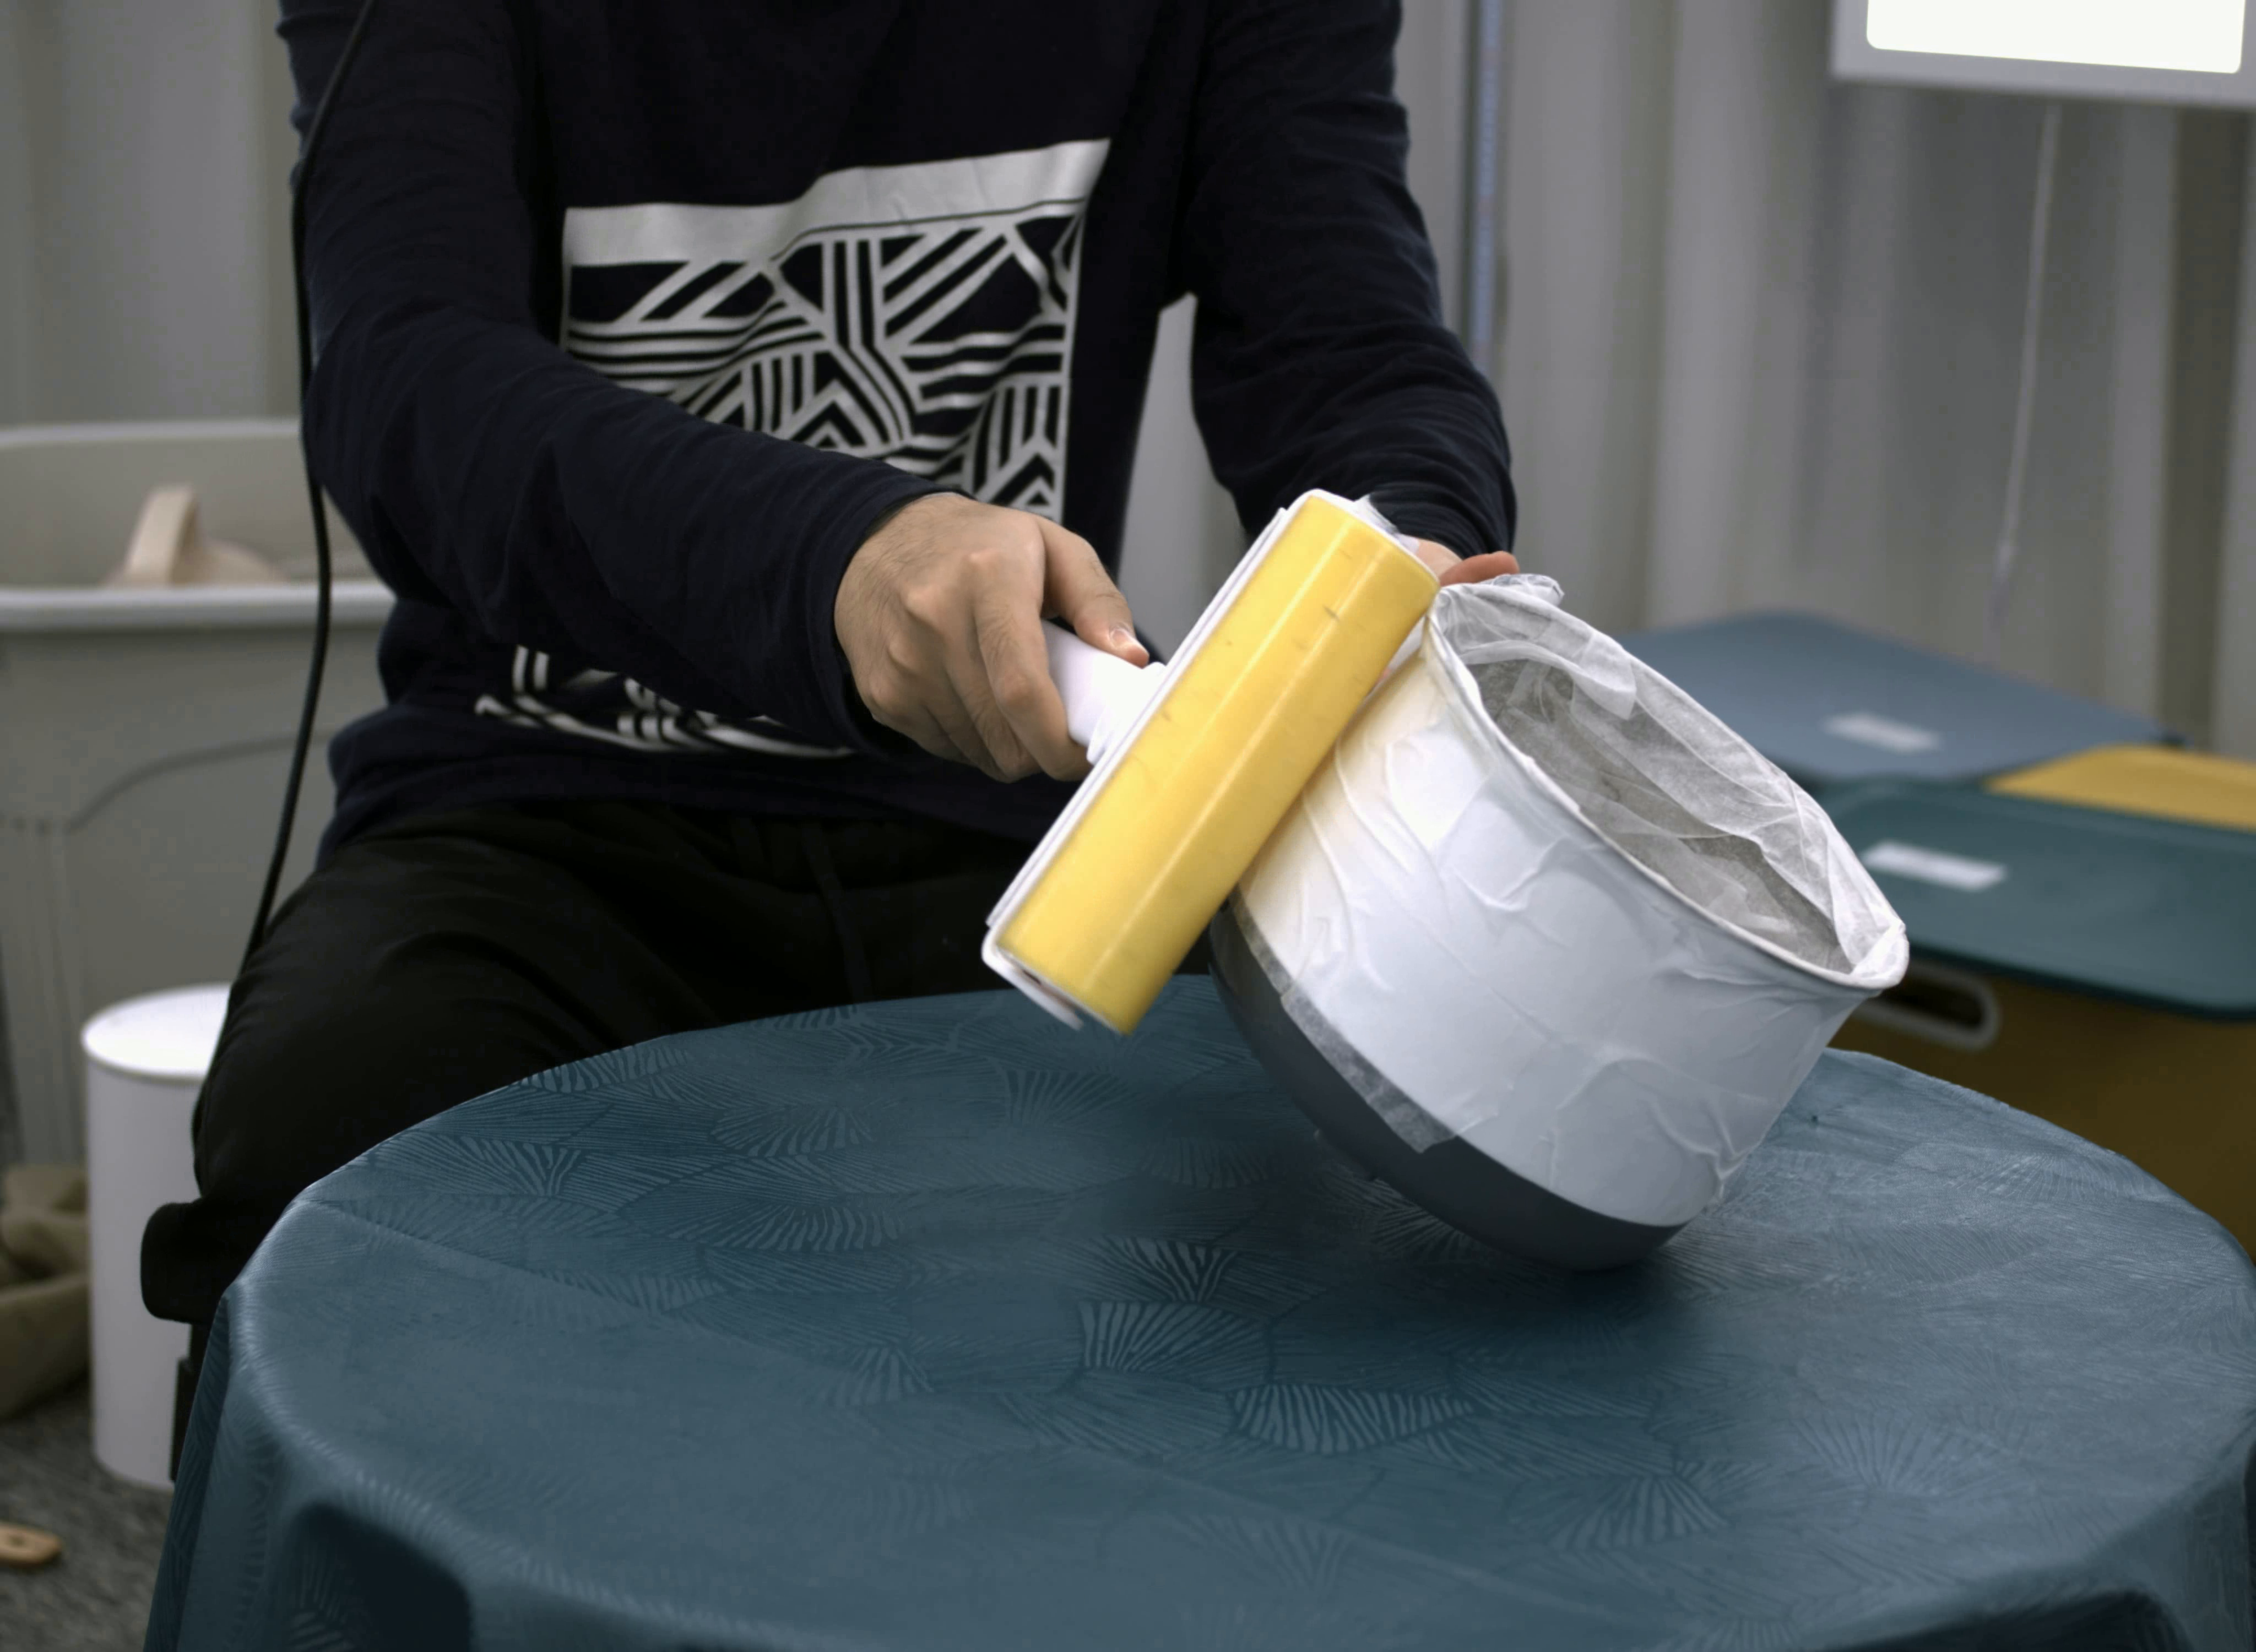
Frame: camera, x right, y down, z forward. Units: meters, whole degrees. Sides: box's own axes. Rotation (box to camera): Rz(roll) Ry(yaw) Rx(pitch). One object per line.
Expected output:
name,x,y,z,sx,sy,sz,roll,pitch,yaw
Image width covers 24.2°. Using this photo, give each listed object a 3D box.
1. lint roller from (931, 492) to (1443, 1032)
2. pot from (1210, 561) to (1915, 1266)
lint roller,-0.014,-0.040,1.577,0.189,0.174,0.052,29,-9,49
pot,0.114,0.013,1.572,0.181,0.137,0.231,25,25,-39
